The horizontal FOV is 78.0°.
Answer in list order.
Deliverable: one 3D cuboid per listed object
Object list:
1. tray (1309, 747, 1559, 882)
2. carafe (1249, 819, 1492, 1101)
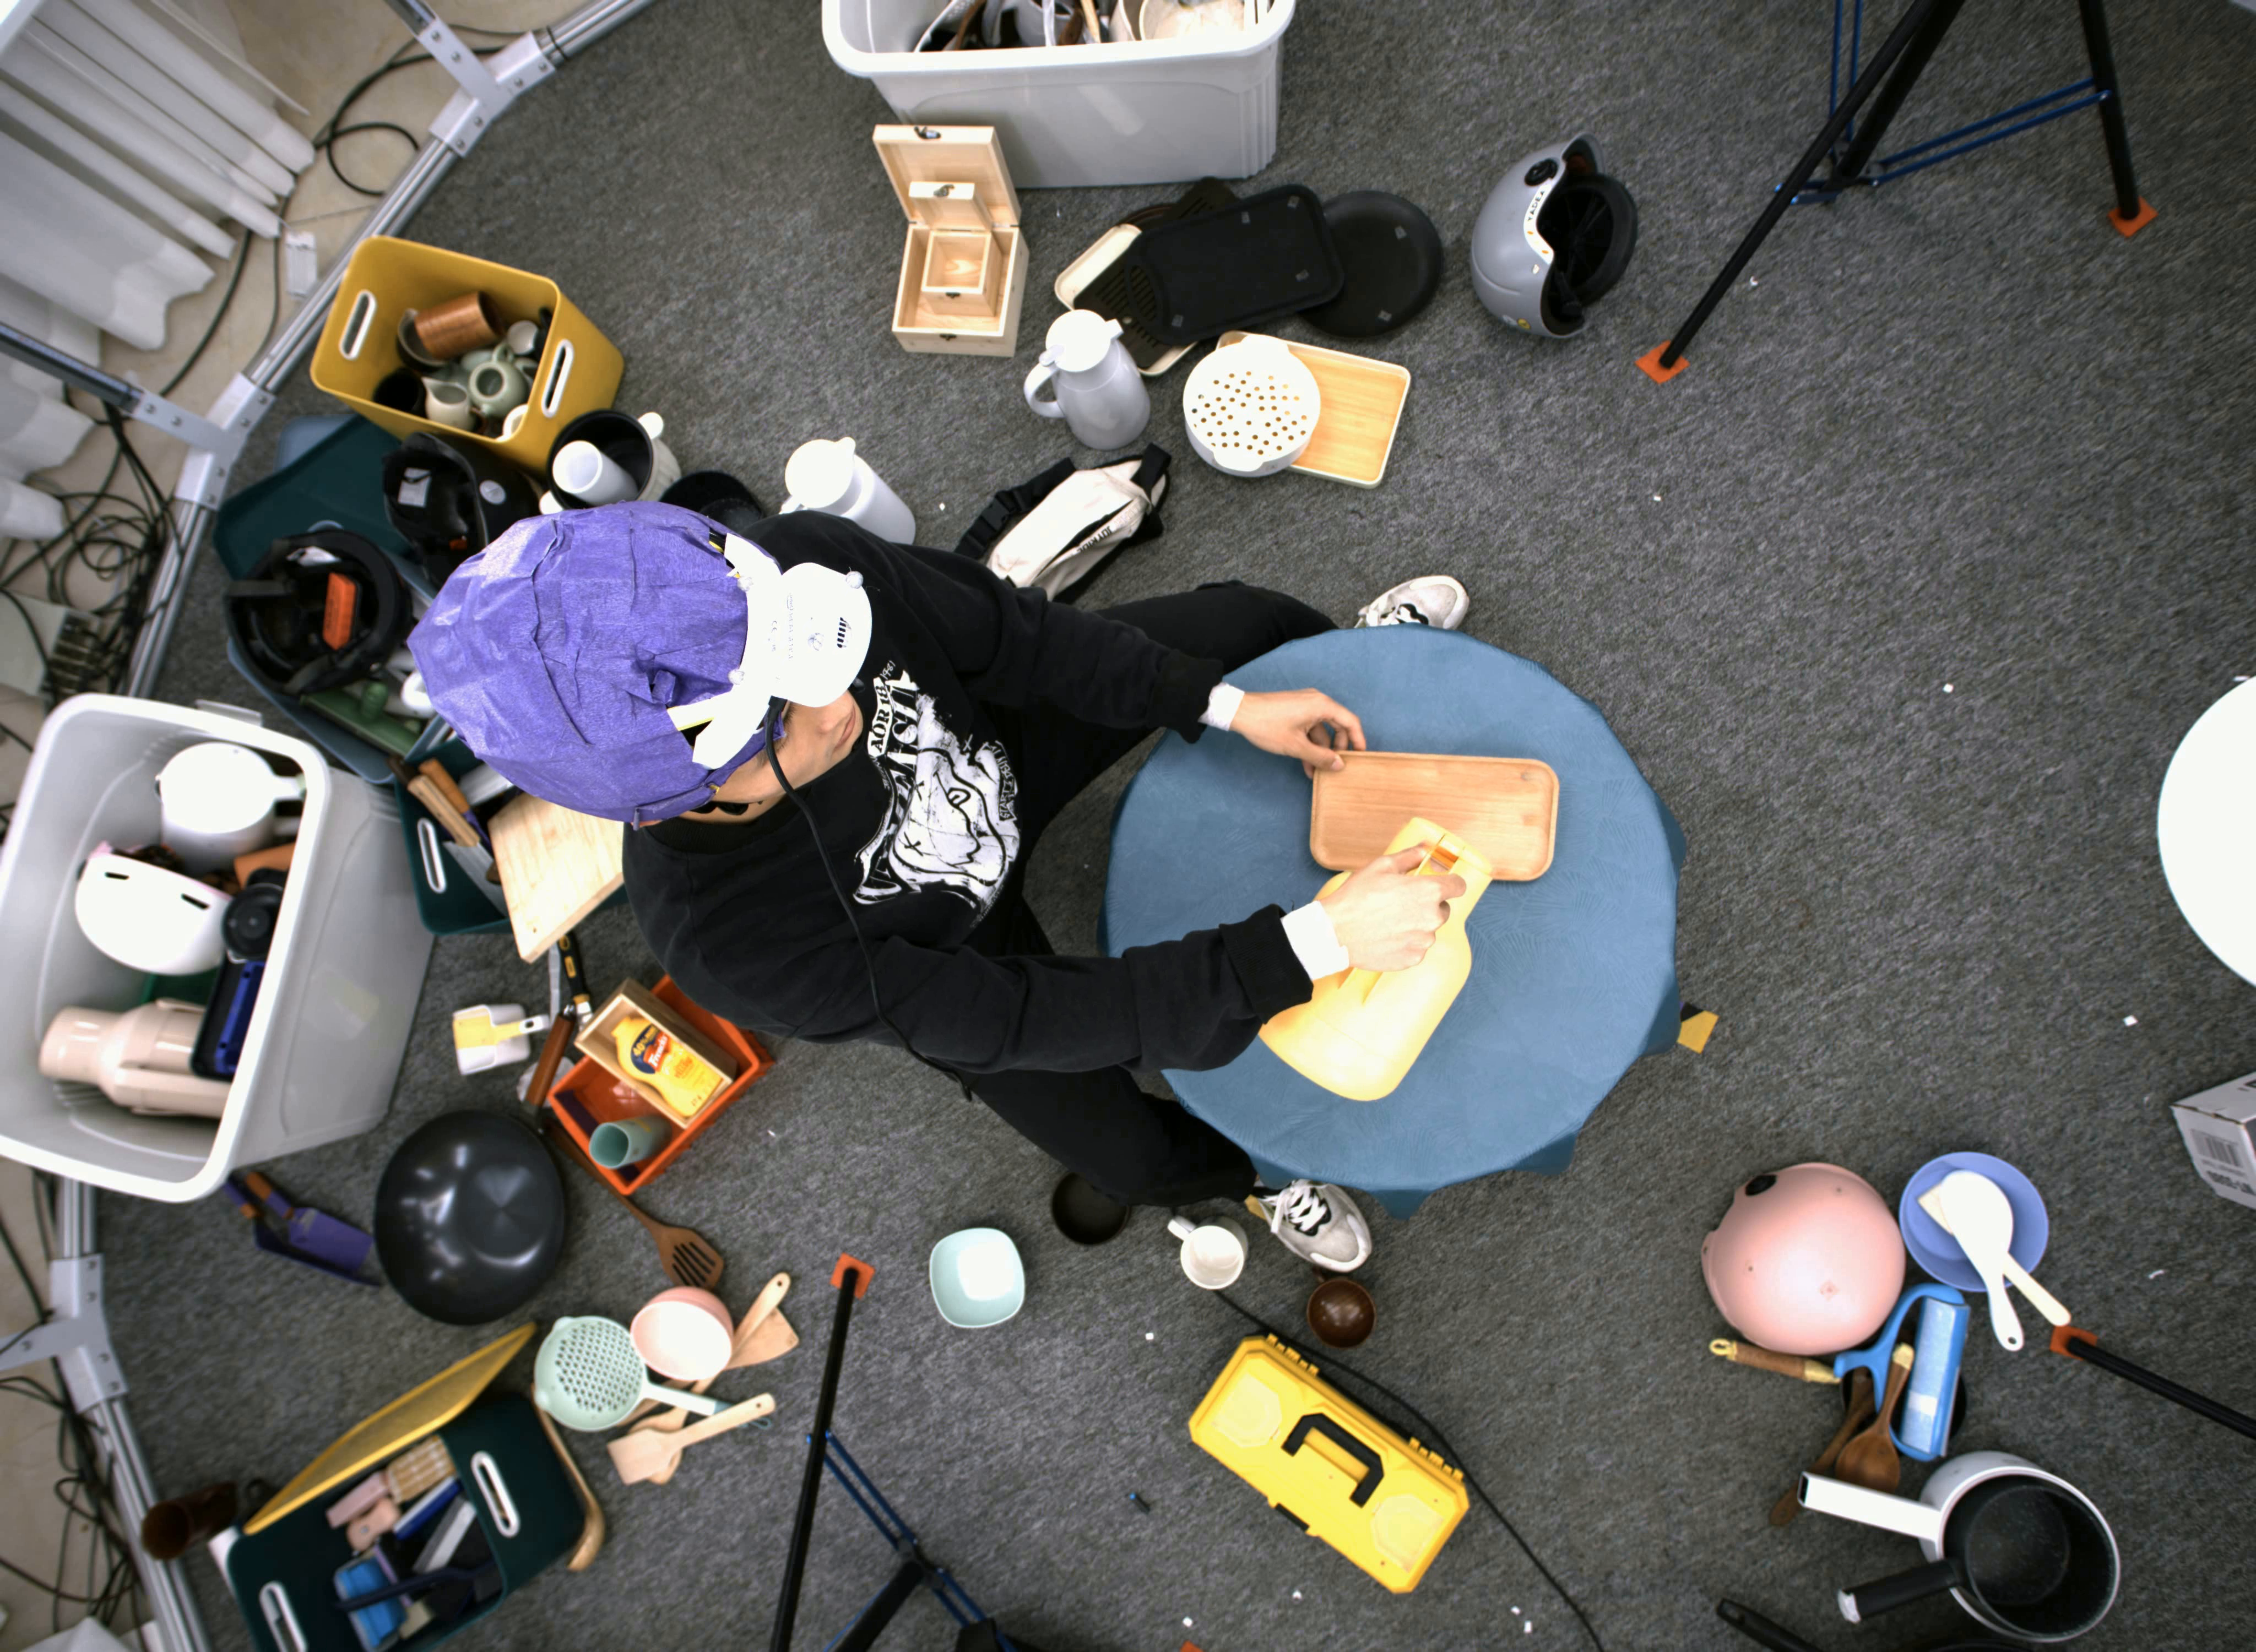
[{"bbox_3d":[0.315,-0.014,1.427,0.251,0.022,0.131,4,101,8],"label":"tray"},{"bbox_3d":[0.233,0.117,1.288,0.163,0.201,0.262,33,98,14],"label":"carafe"}]
